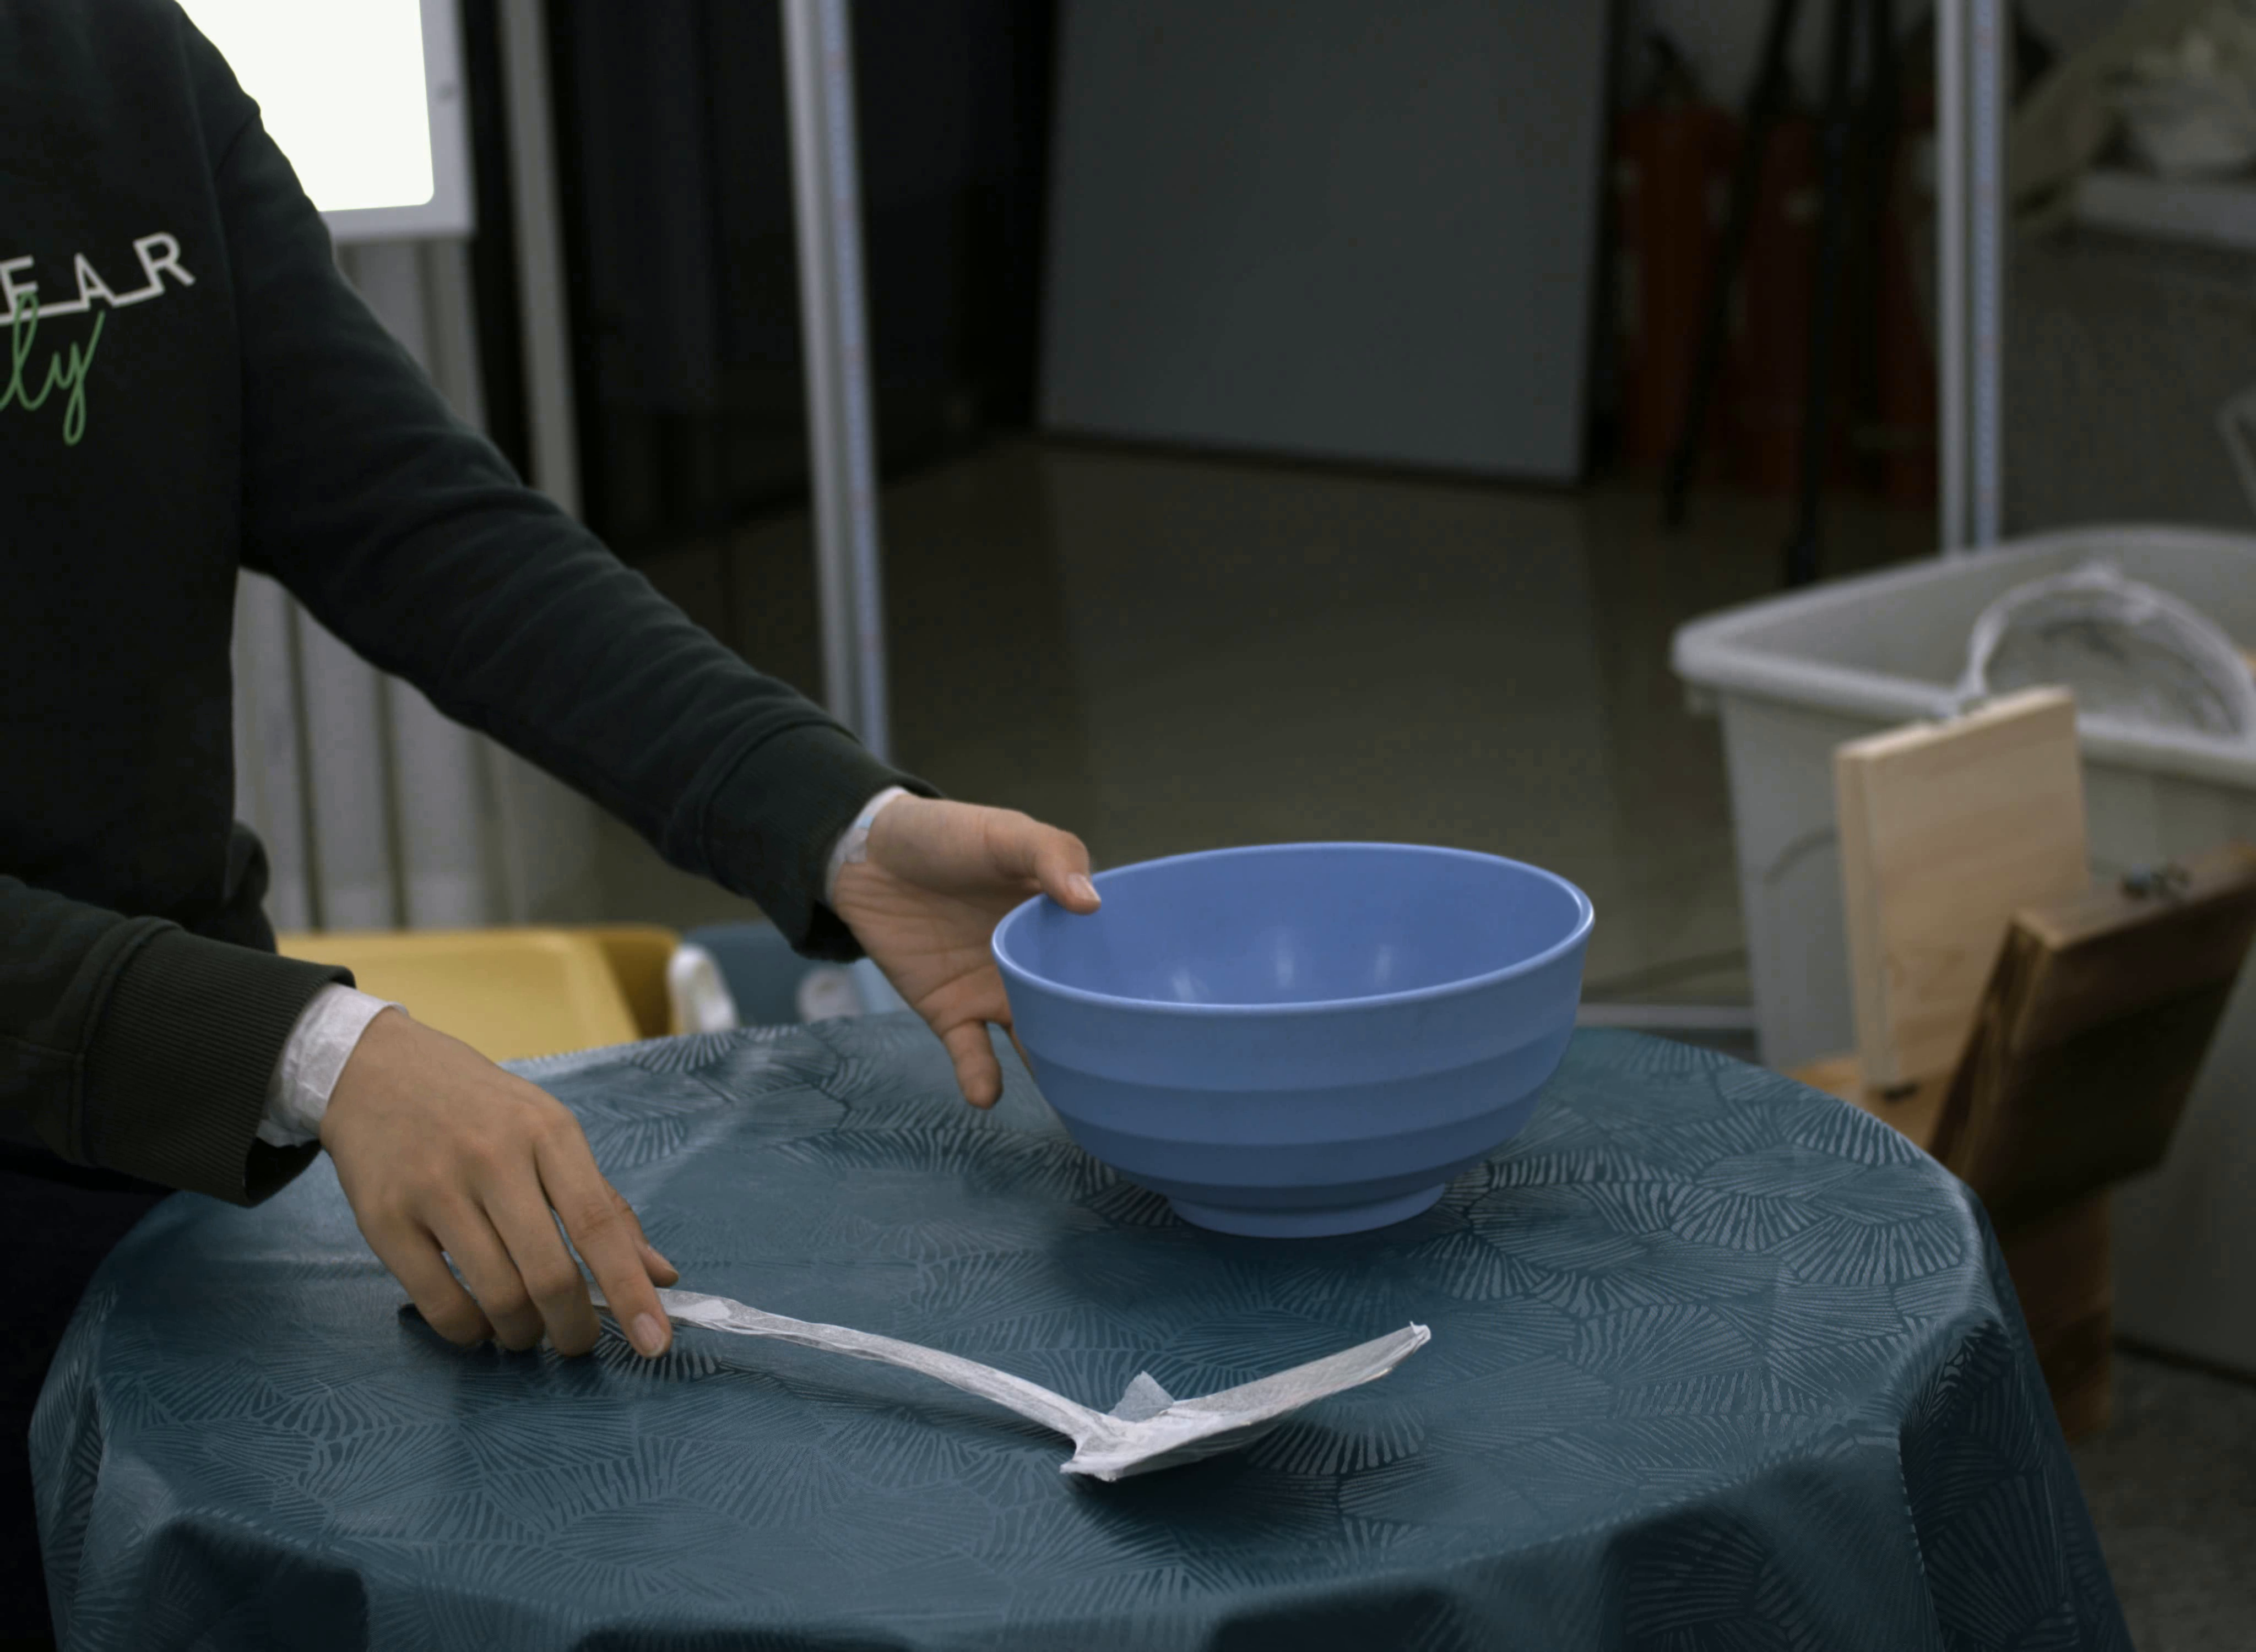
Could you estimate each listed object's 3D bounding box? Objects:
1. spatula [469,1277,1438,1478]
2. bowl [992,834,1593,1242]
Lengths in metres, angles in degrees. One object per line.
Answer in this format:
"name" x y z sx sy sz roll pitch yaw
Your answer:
"spatula" -0.072 0.150 1.593 0.367 0.045 0.097 7 20 38
"bowl" 0.055 0.074 1.744 0.194 0.096 0.197 -4 15 0
